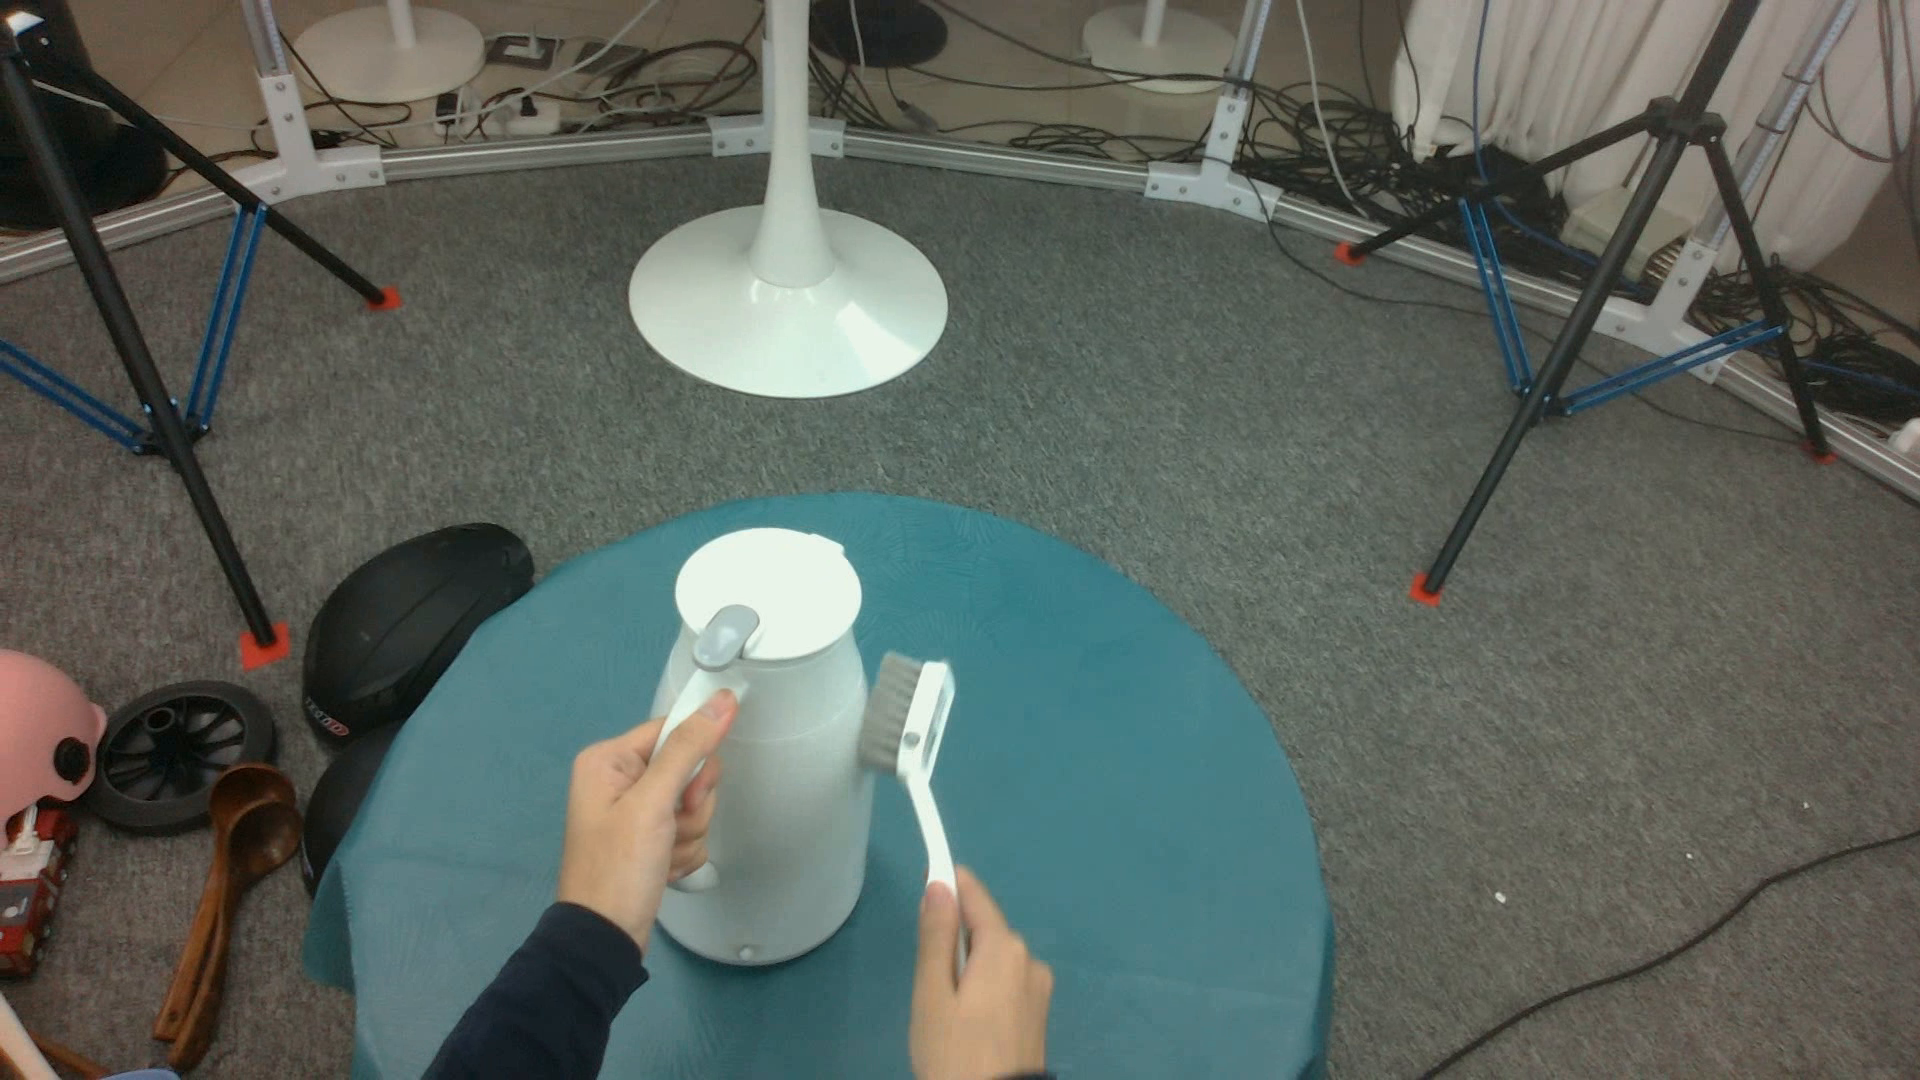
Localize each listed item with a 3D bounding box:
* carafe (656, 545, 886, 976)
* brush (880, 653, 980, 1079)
[{"bbox_3d":[-0.111,0.131,0.756,0.132,0.247,0.168,20,43,12],"label":"carafe"},{"bbox_3d":[-0.017,0.168,0.712,0.050,0.034,0.244,-4,54,2],"label":"brush"}]
